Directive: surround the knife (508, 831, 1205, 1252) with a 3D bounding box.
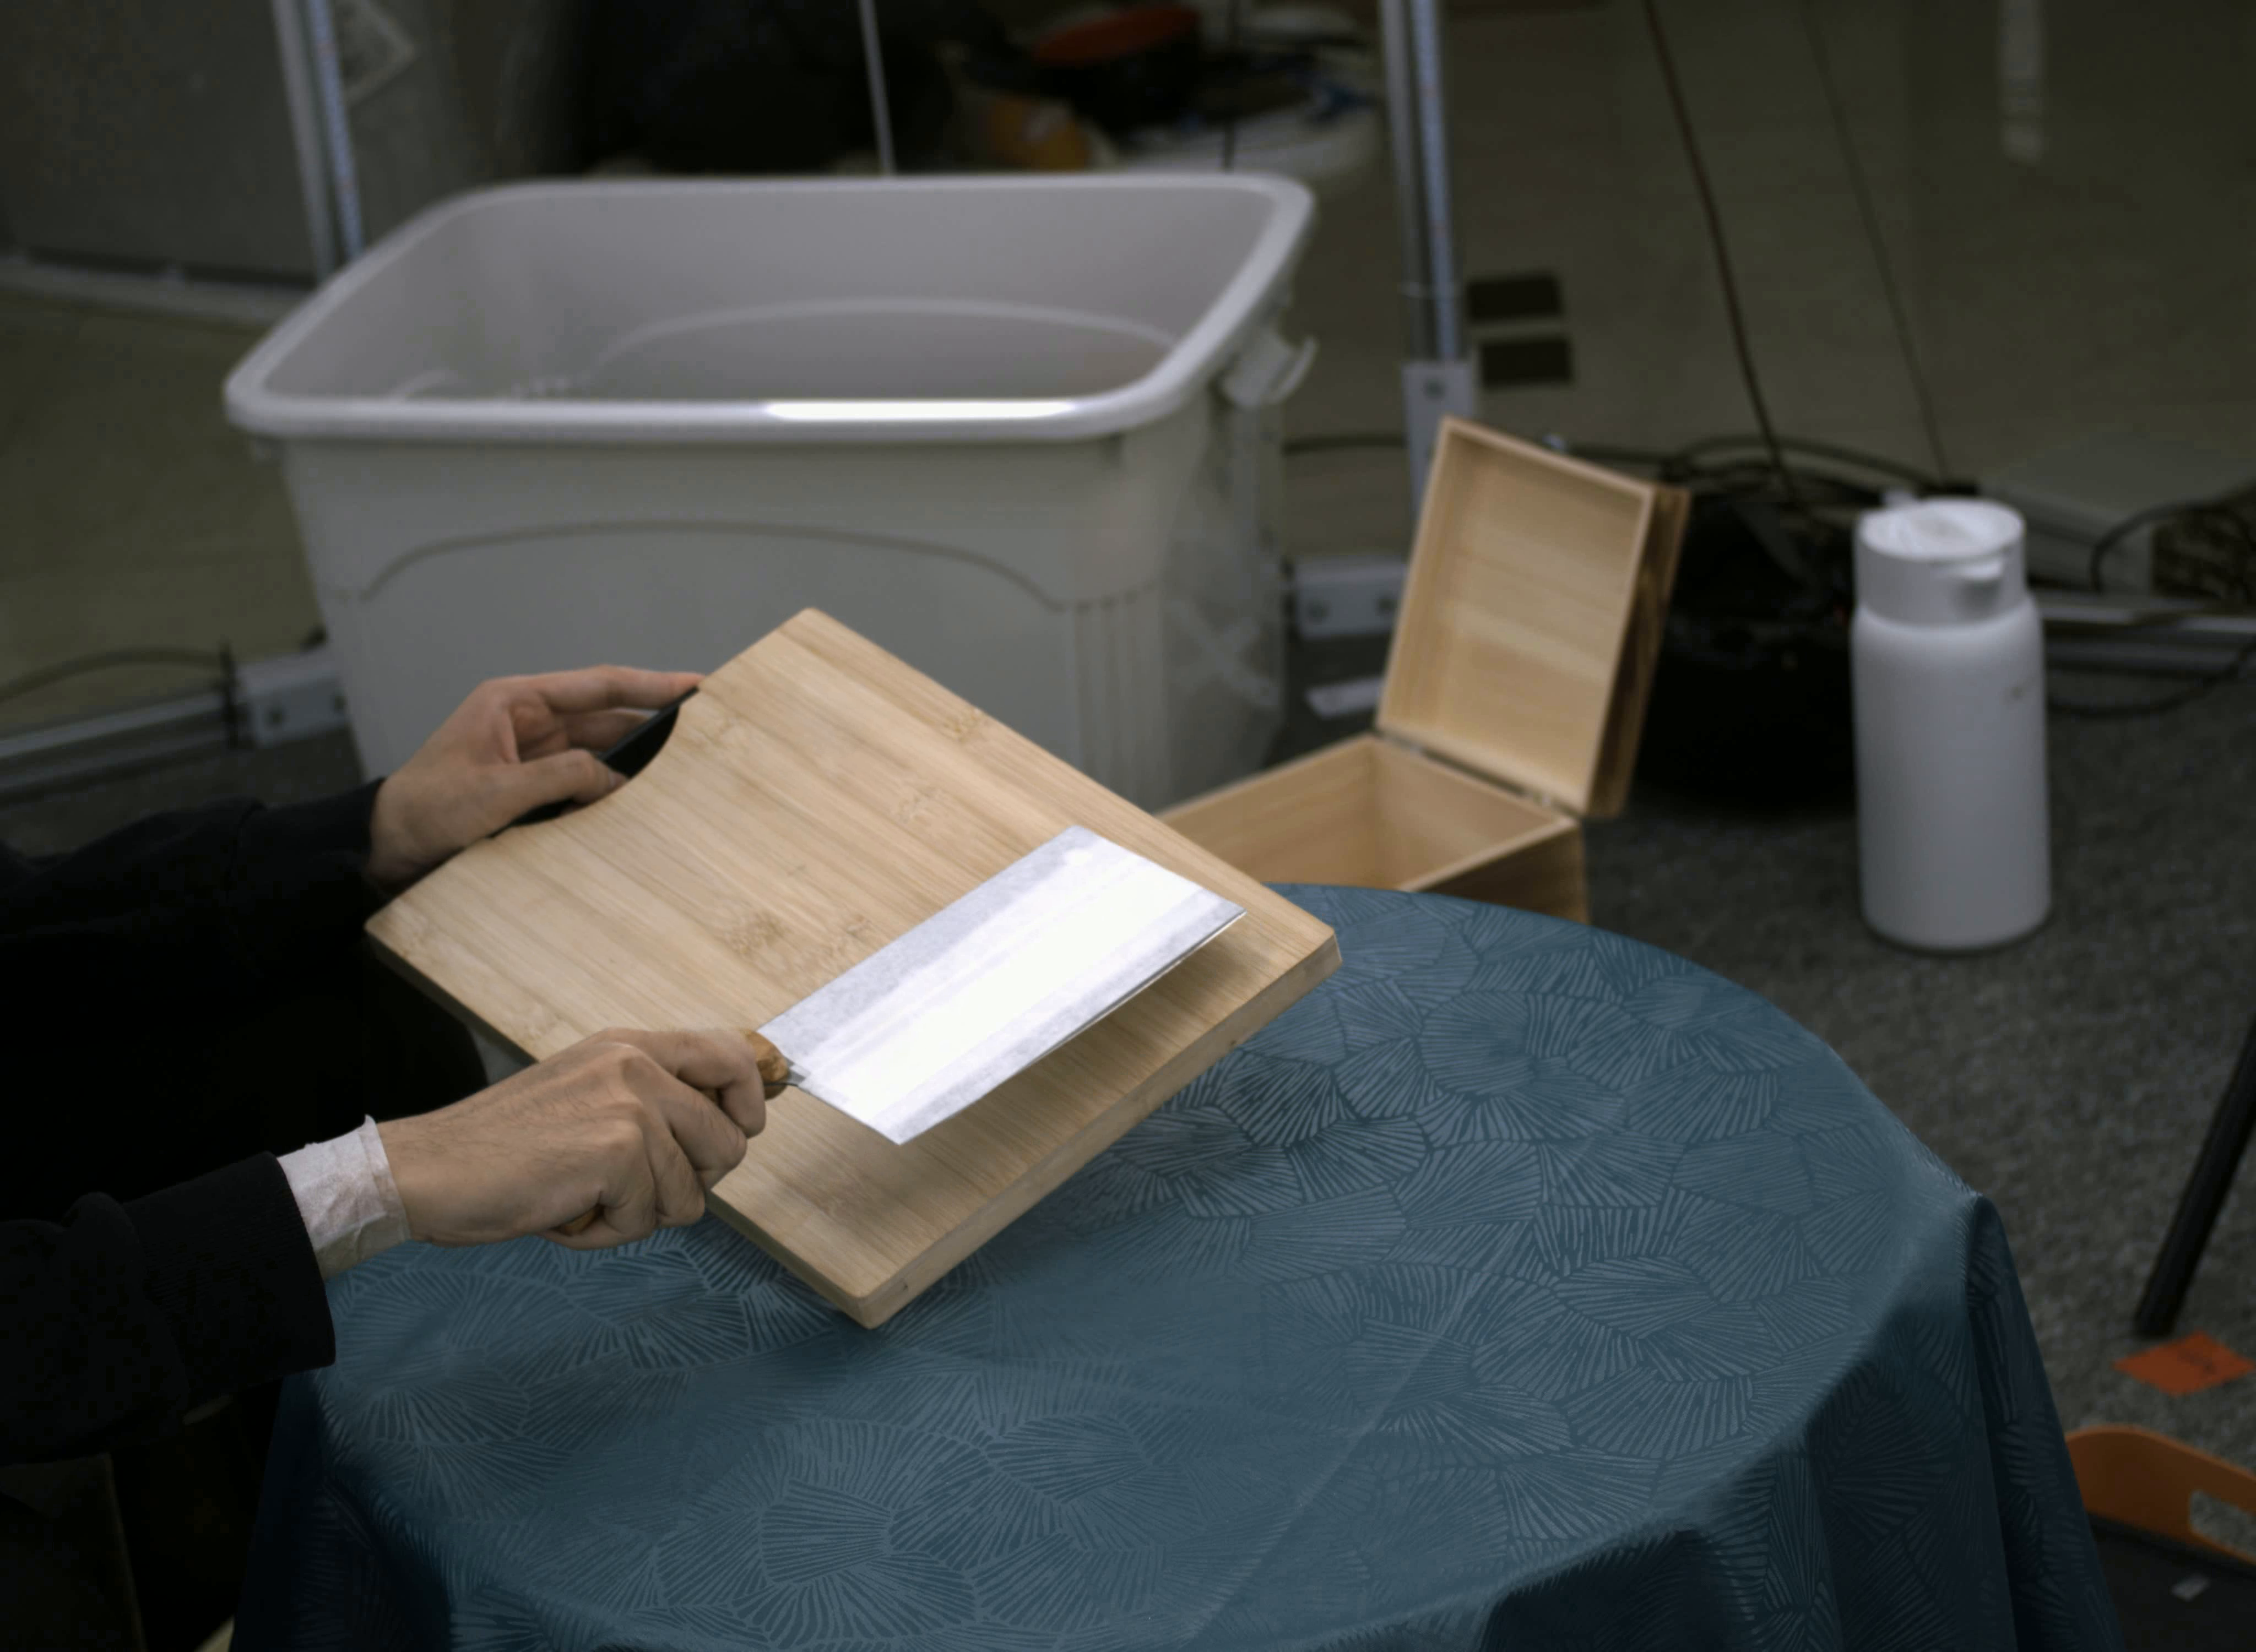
[{"bbox_3d":[-0.089,0.082,2.070,0.092,0.021,0.303,28,45,34],"label":"knife"}]

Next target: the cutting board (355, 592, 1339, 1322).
[{"bbox_3d":[-0.116,0.043,2.224,0.249,0.024,0.345,-38,45,-22],"label":"cutting board"}]
